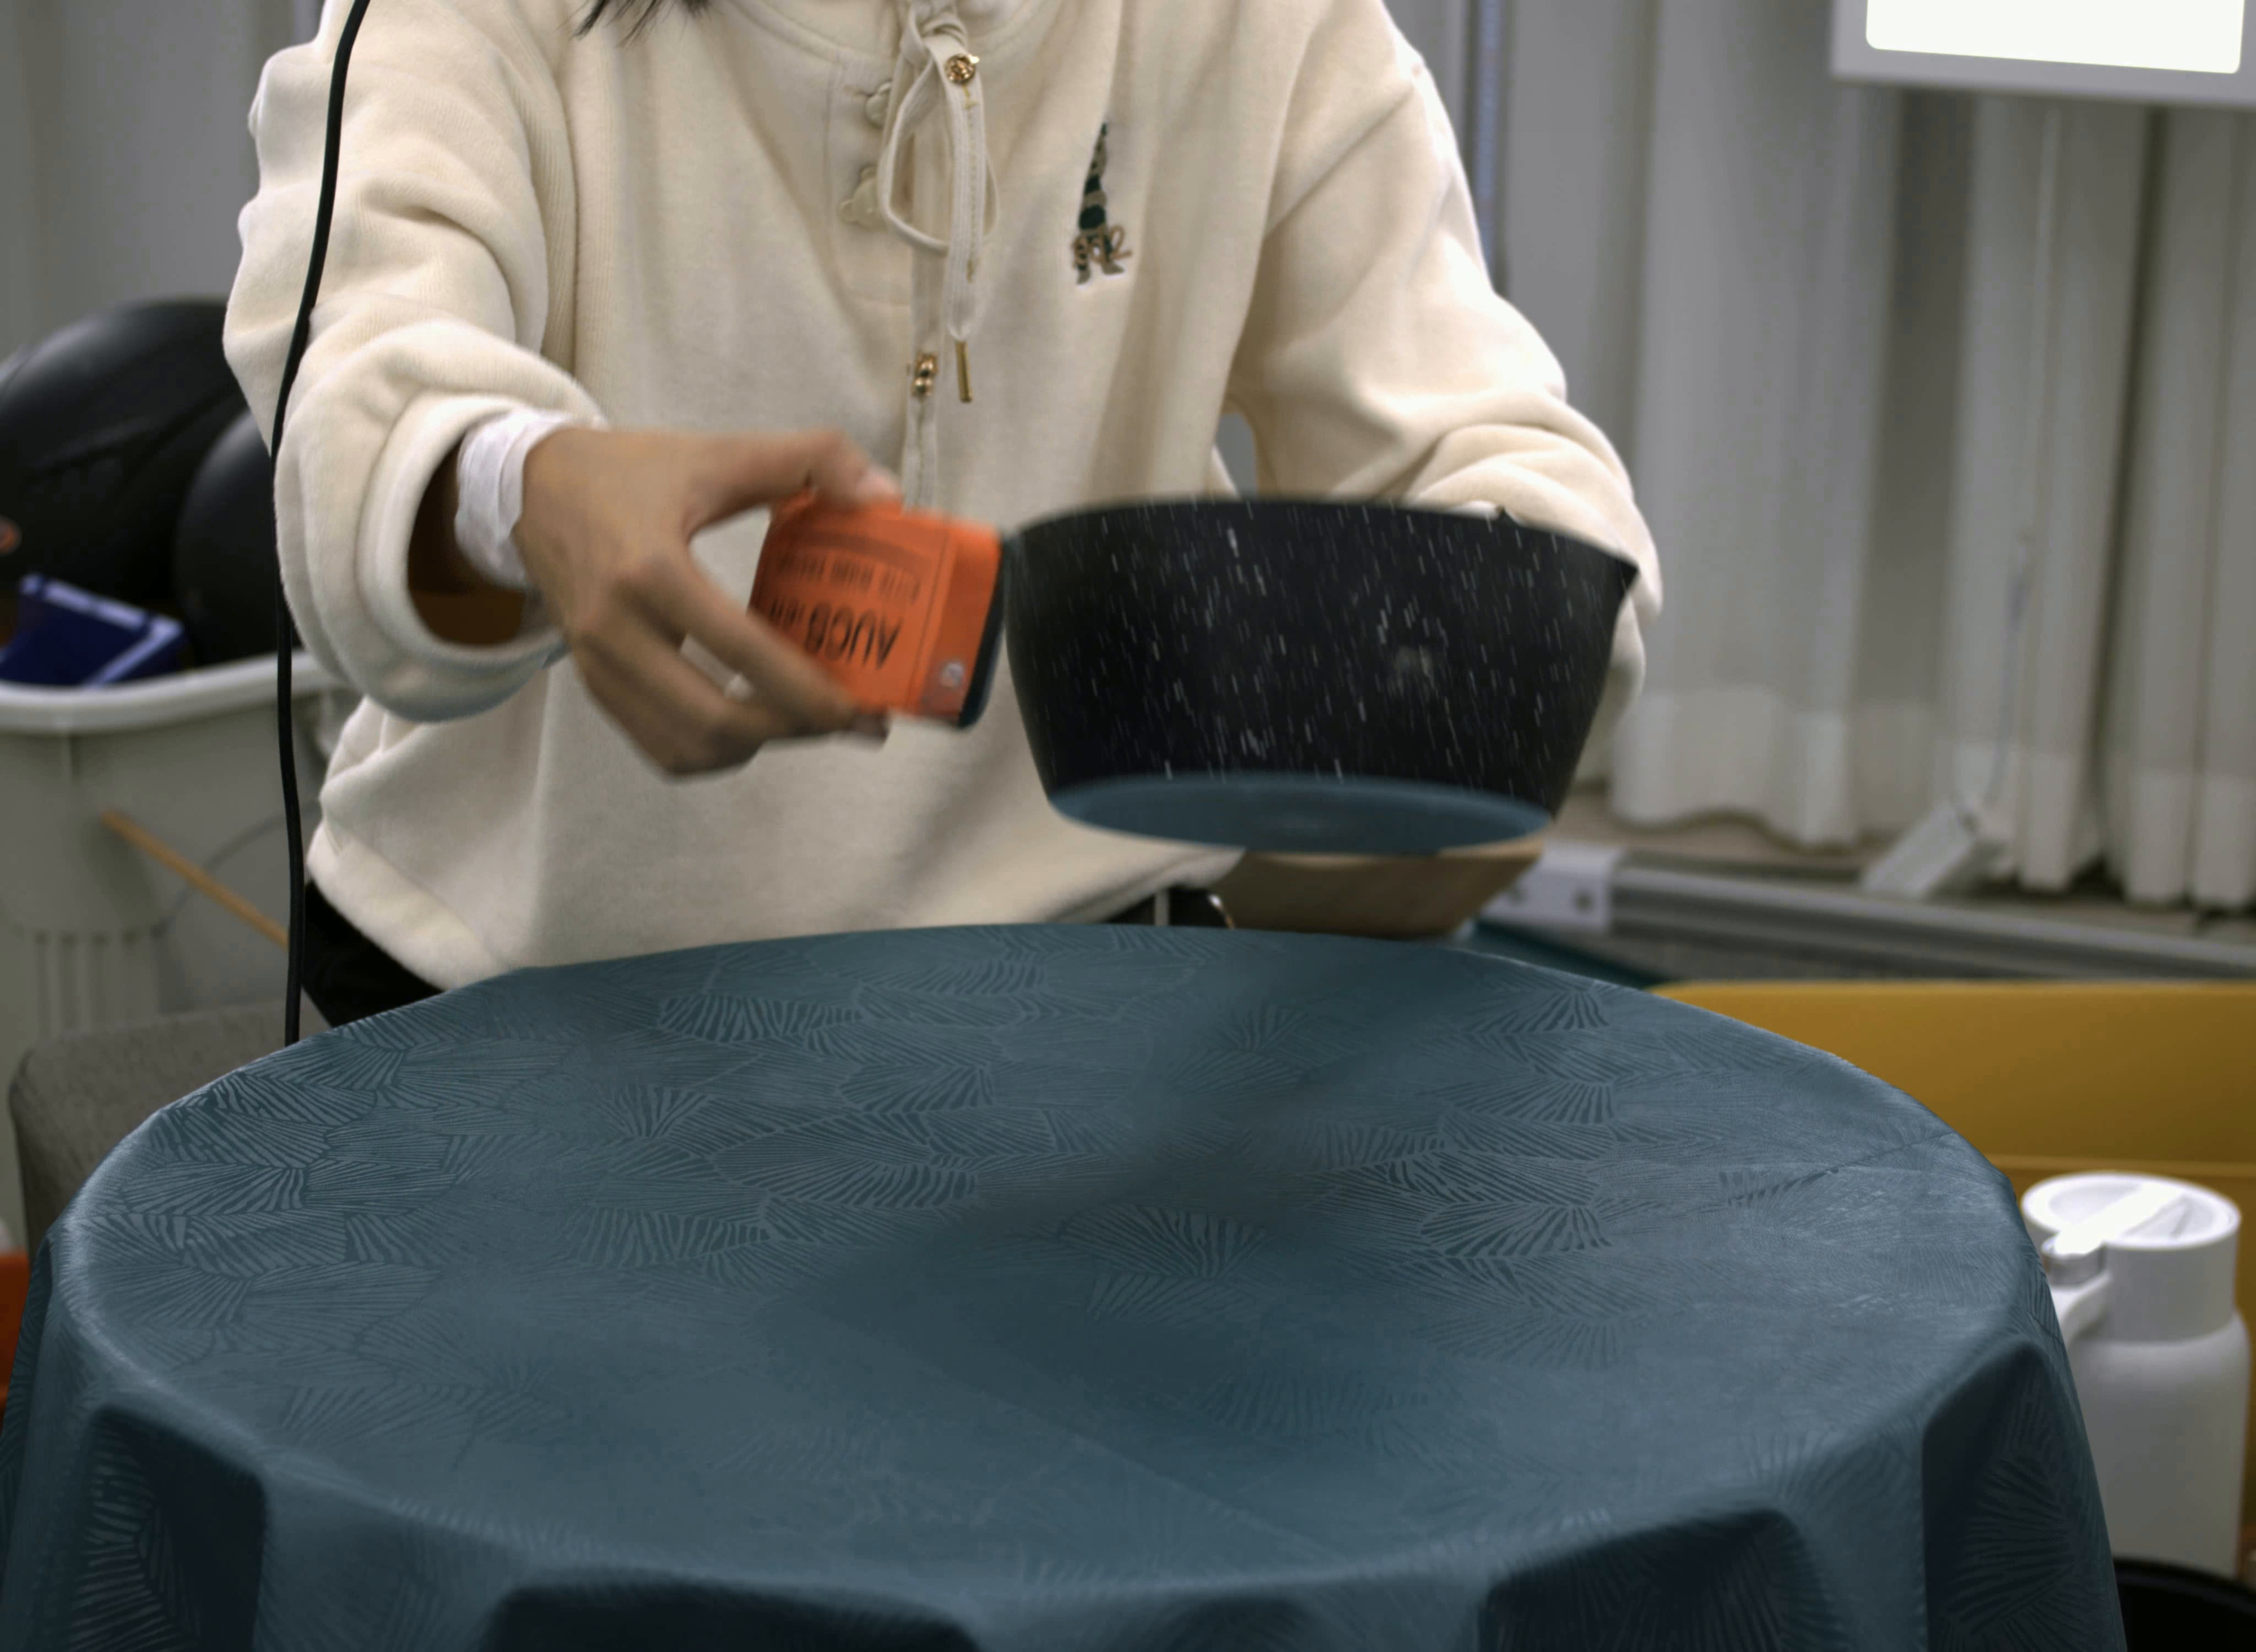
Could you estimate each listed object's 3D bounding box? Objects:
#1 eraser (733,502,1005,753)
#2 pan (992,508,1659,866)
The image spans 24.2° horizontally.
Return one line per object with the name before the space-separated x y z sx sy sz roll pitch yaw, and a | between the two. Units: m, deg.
eraser | -0.075 -0.057 1.496 0.023 0.059 0.107 11 4 -33
pan | 0.062 -0.039 1.668 0.206 0.108 0.344 1 -5 4
